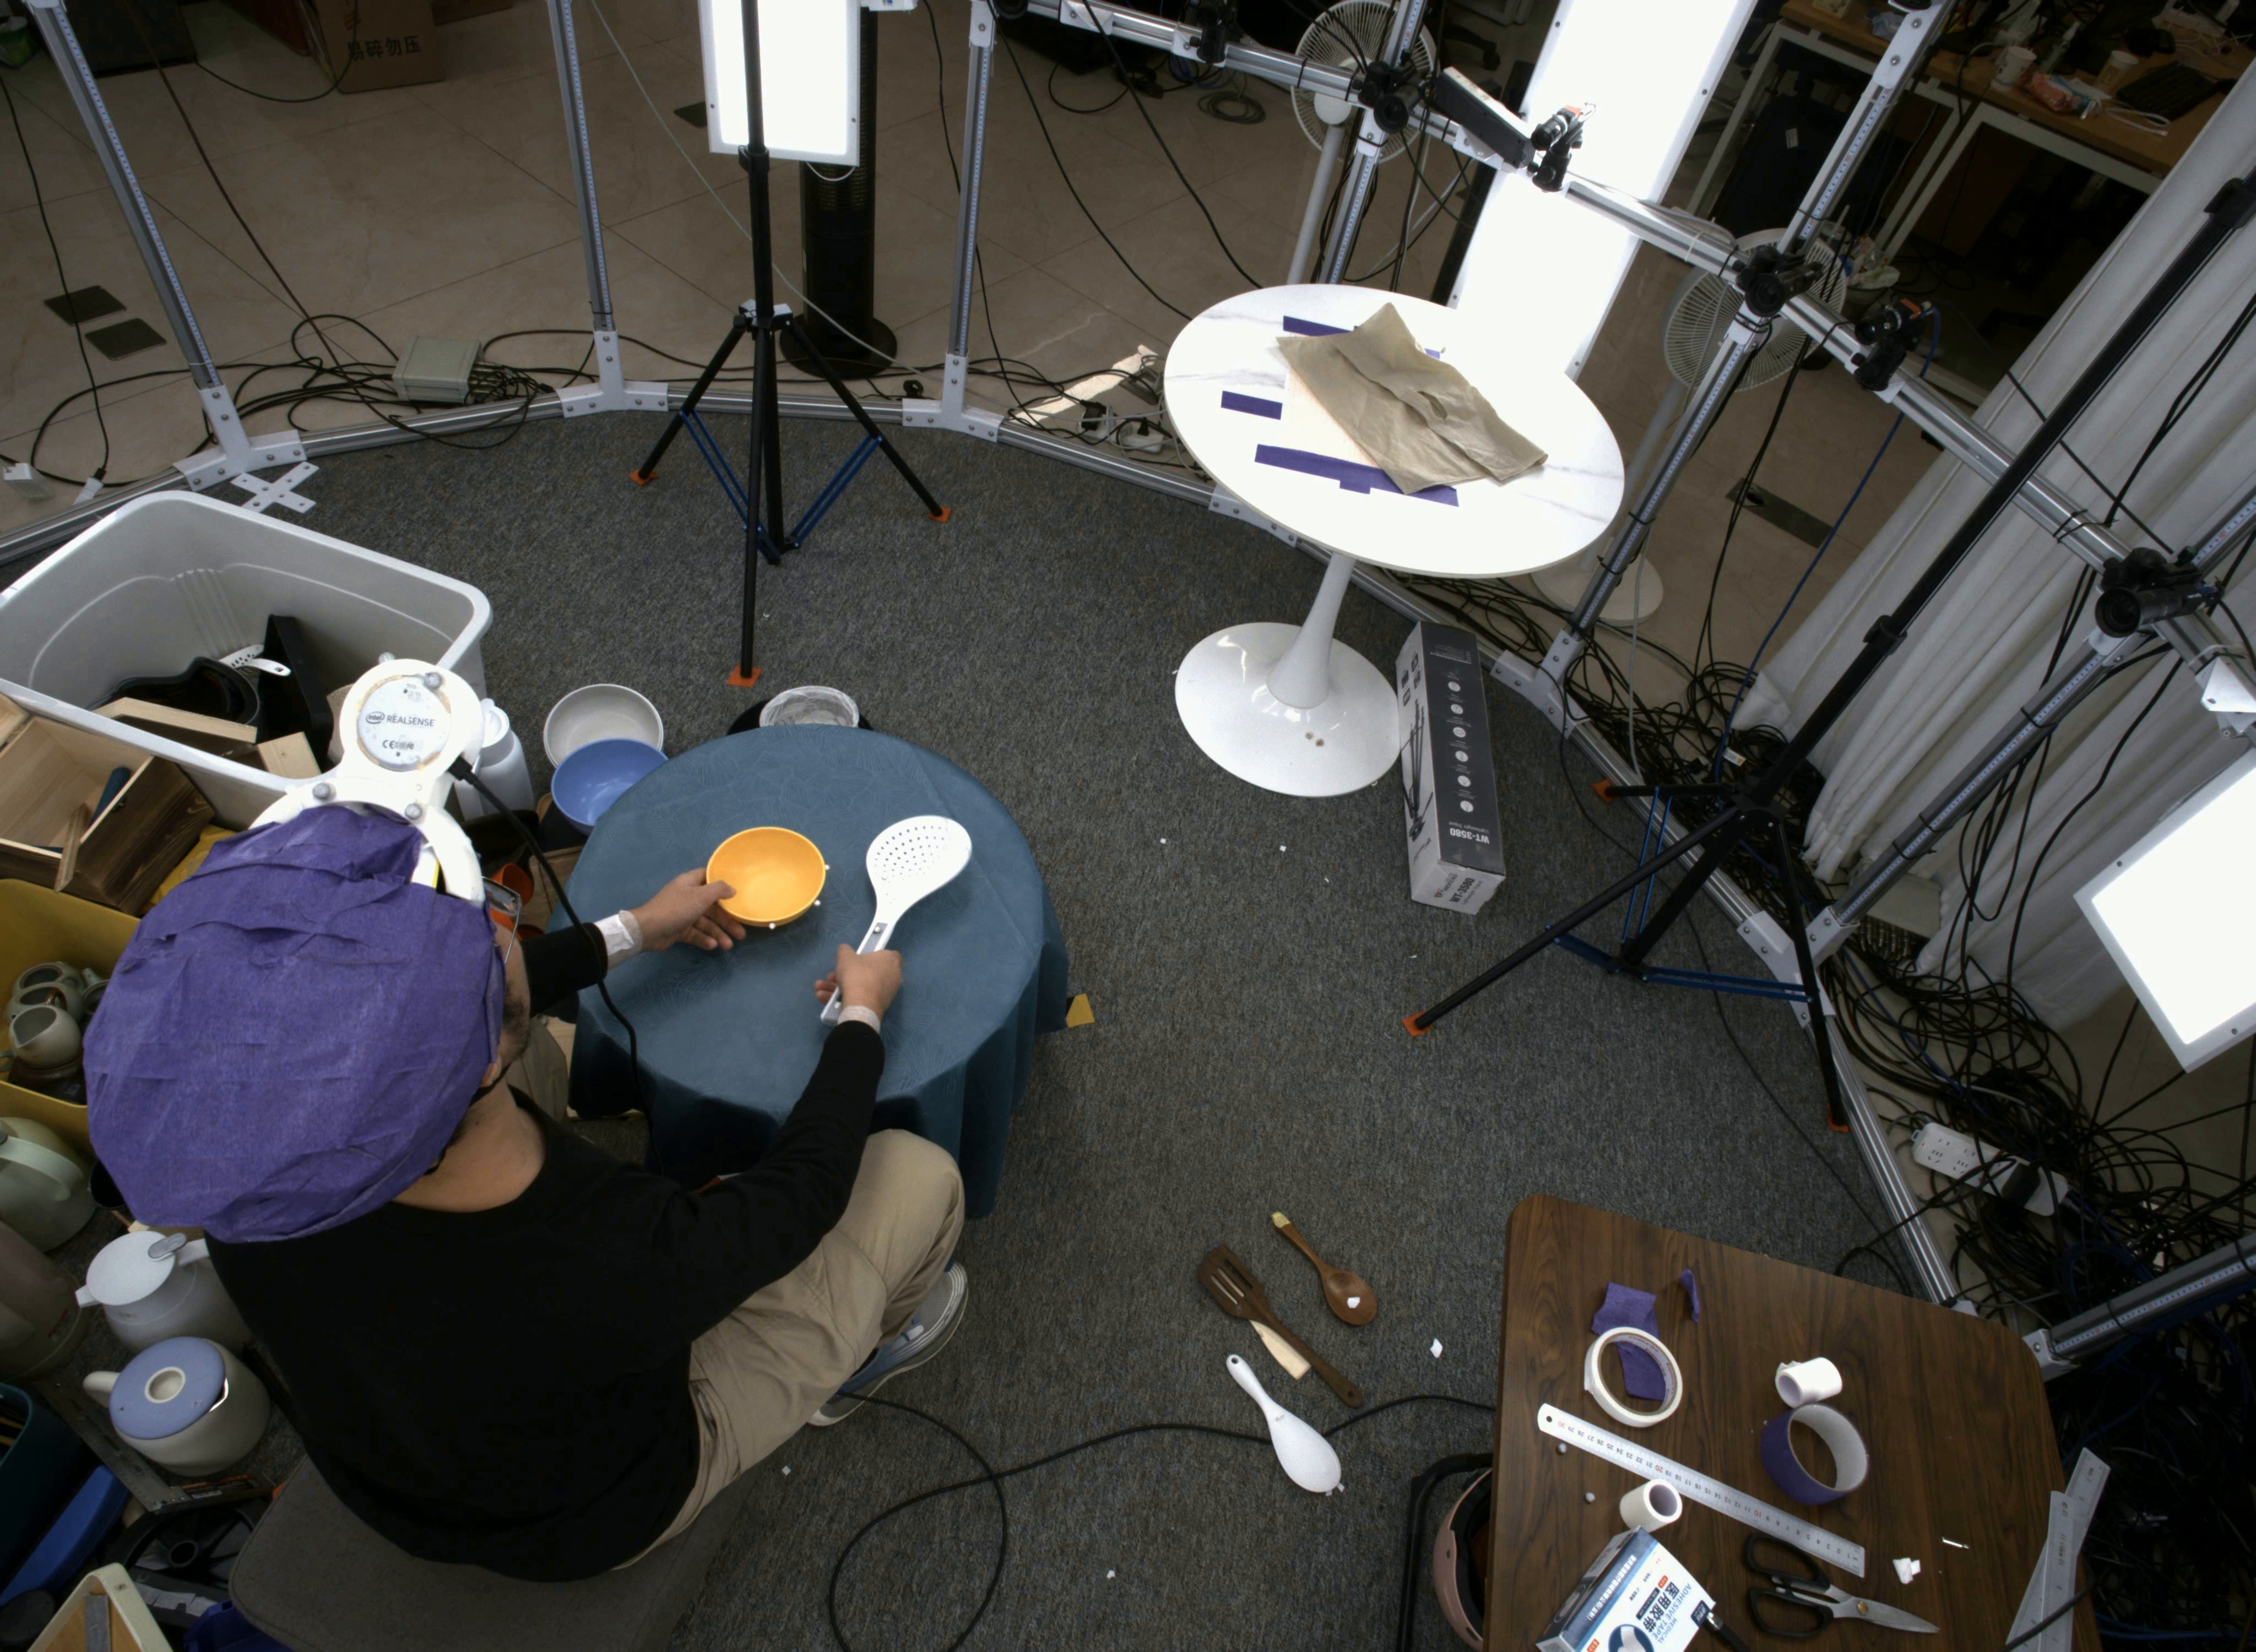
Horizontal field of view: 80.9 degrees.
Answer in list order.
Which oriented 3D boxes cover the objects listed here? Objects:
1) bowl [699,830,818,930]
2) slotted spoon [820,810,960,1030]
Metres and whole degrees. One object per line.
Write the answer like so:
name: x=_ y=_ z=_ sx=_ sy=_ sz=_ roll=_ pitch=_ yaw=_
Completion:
bowl: x=-0.459 y=0.077 z=1.616 sx=0.145 sy=0.061 sz=0.142 roll=8 pitch=50 yaw=-8
slotted spoon: x=-0.305 y=0.107 z=1.614 sx=0.133 sy=0.047 sz=0.345 roll=3 pitch=41 yaw=15
